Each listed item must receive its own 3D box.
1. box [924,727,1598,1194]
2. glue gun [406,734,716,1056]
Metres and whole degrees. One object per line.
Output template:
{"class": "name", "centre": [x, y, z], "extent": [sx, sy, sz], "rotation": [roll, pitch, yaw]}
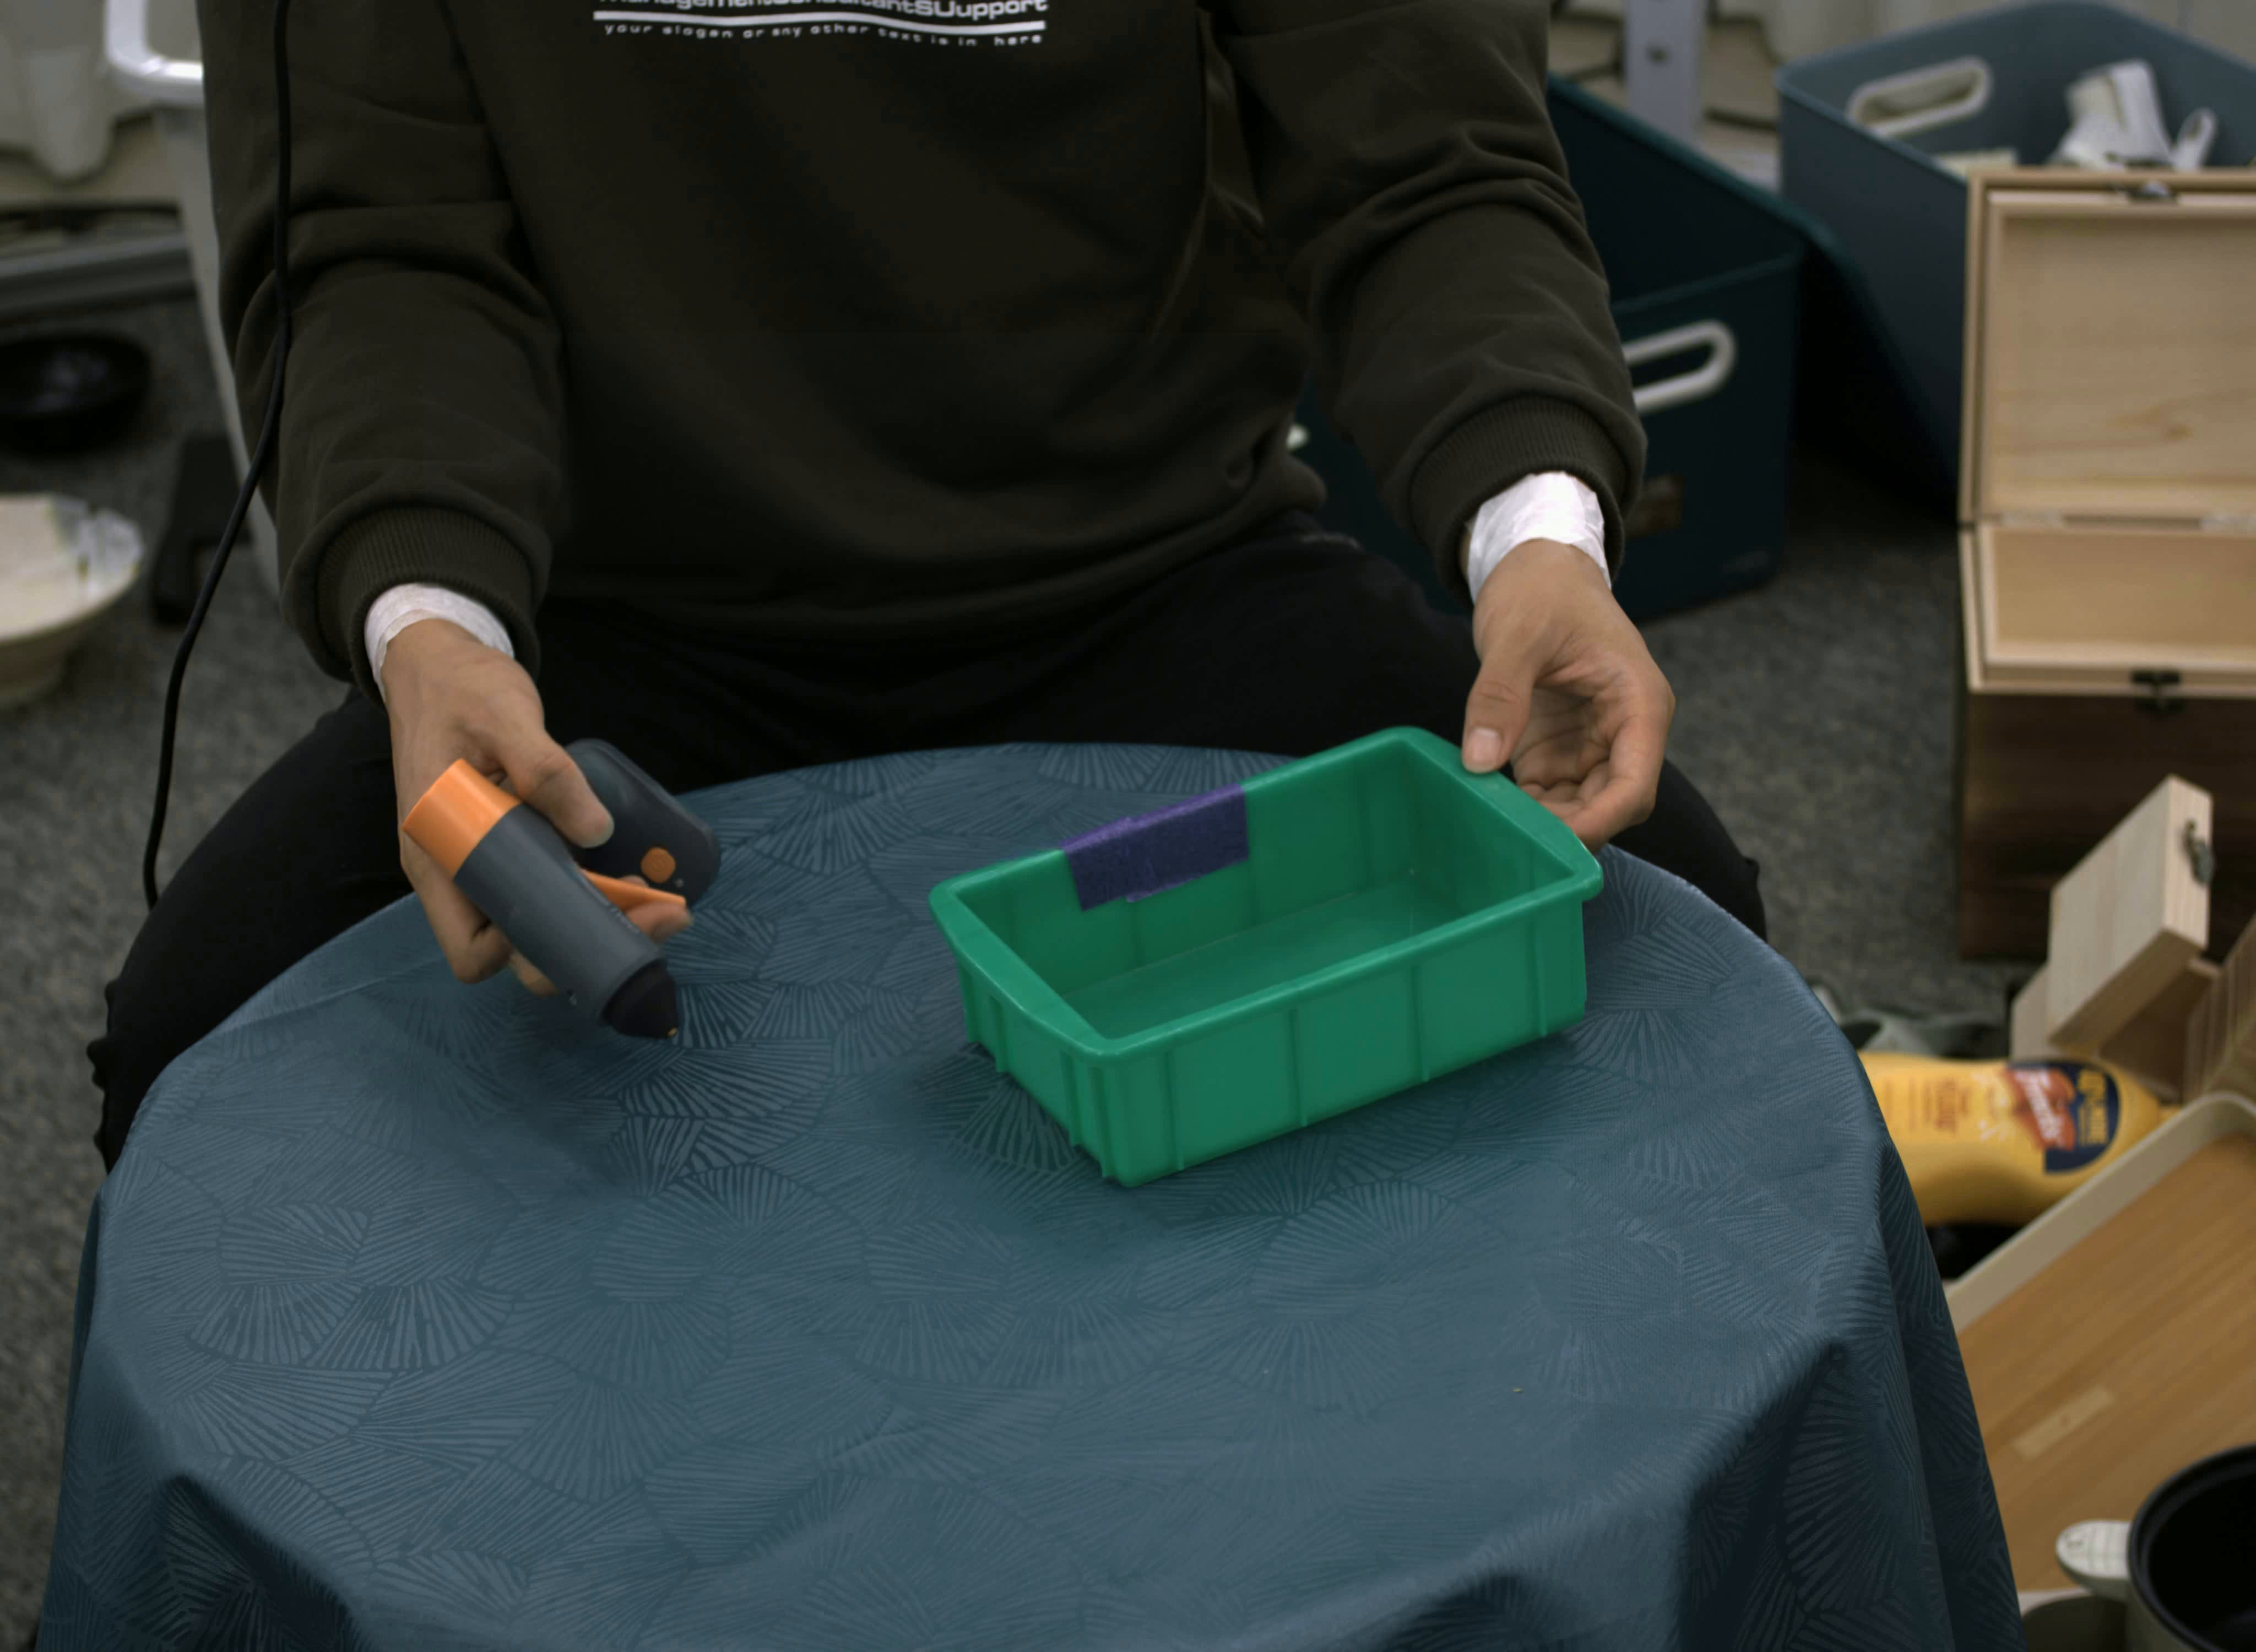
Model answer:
{"class": "box", "centre": [0.047, 0.047, 1.933], "extent": [0.212, 0.064, 0.139], "rotation": [-20, 31, -22]}
{"class": "glue gun", "centre": [-0.187, 0.021, 1.945], "extent": [0.118, 0.040, 0.141], "rotation": [43, 17, -2]}
